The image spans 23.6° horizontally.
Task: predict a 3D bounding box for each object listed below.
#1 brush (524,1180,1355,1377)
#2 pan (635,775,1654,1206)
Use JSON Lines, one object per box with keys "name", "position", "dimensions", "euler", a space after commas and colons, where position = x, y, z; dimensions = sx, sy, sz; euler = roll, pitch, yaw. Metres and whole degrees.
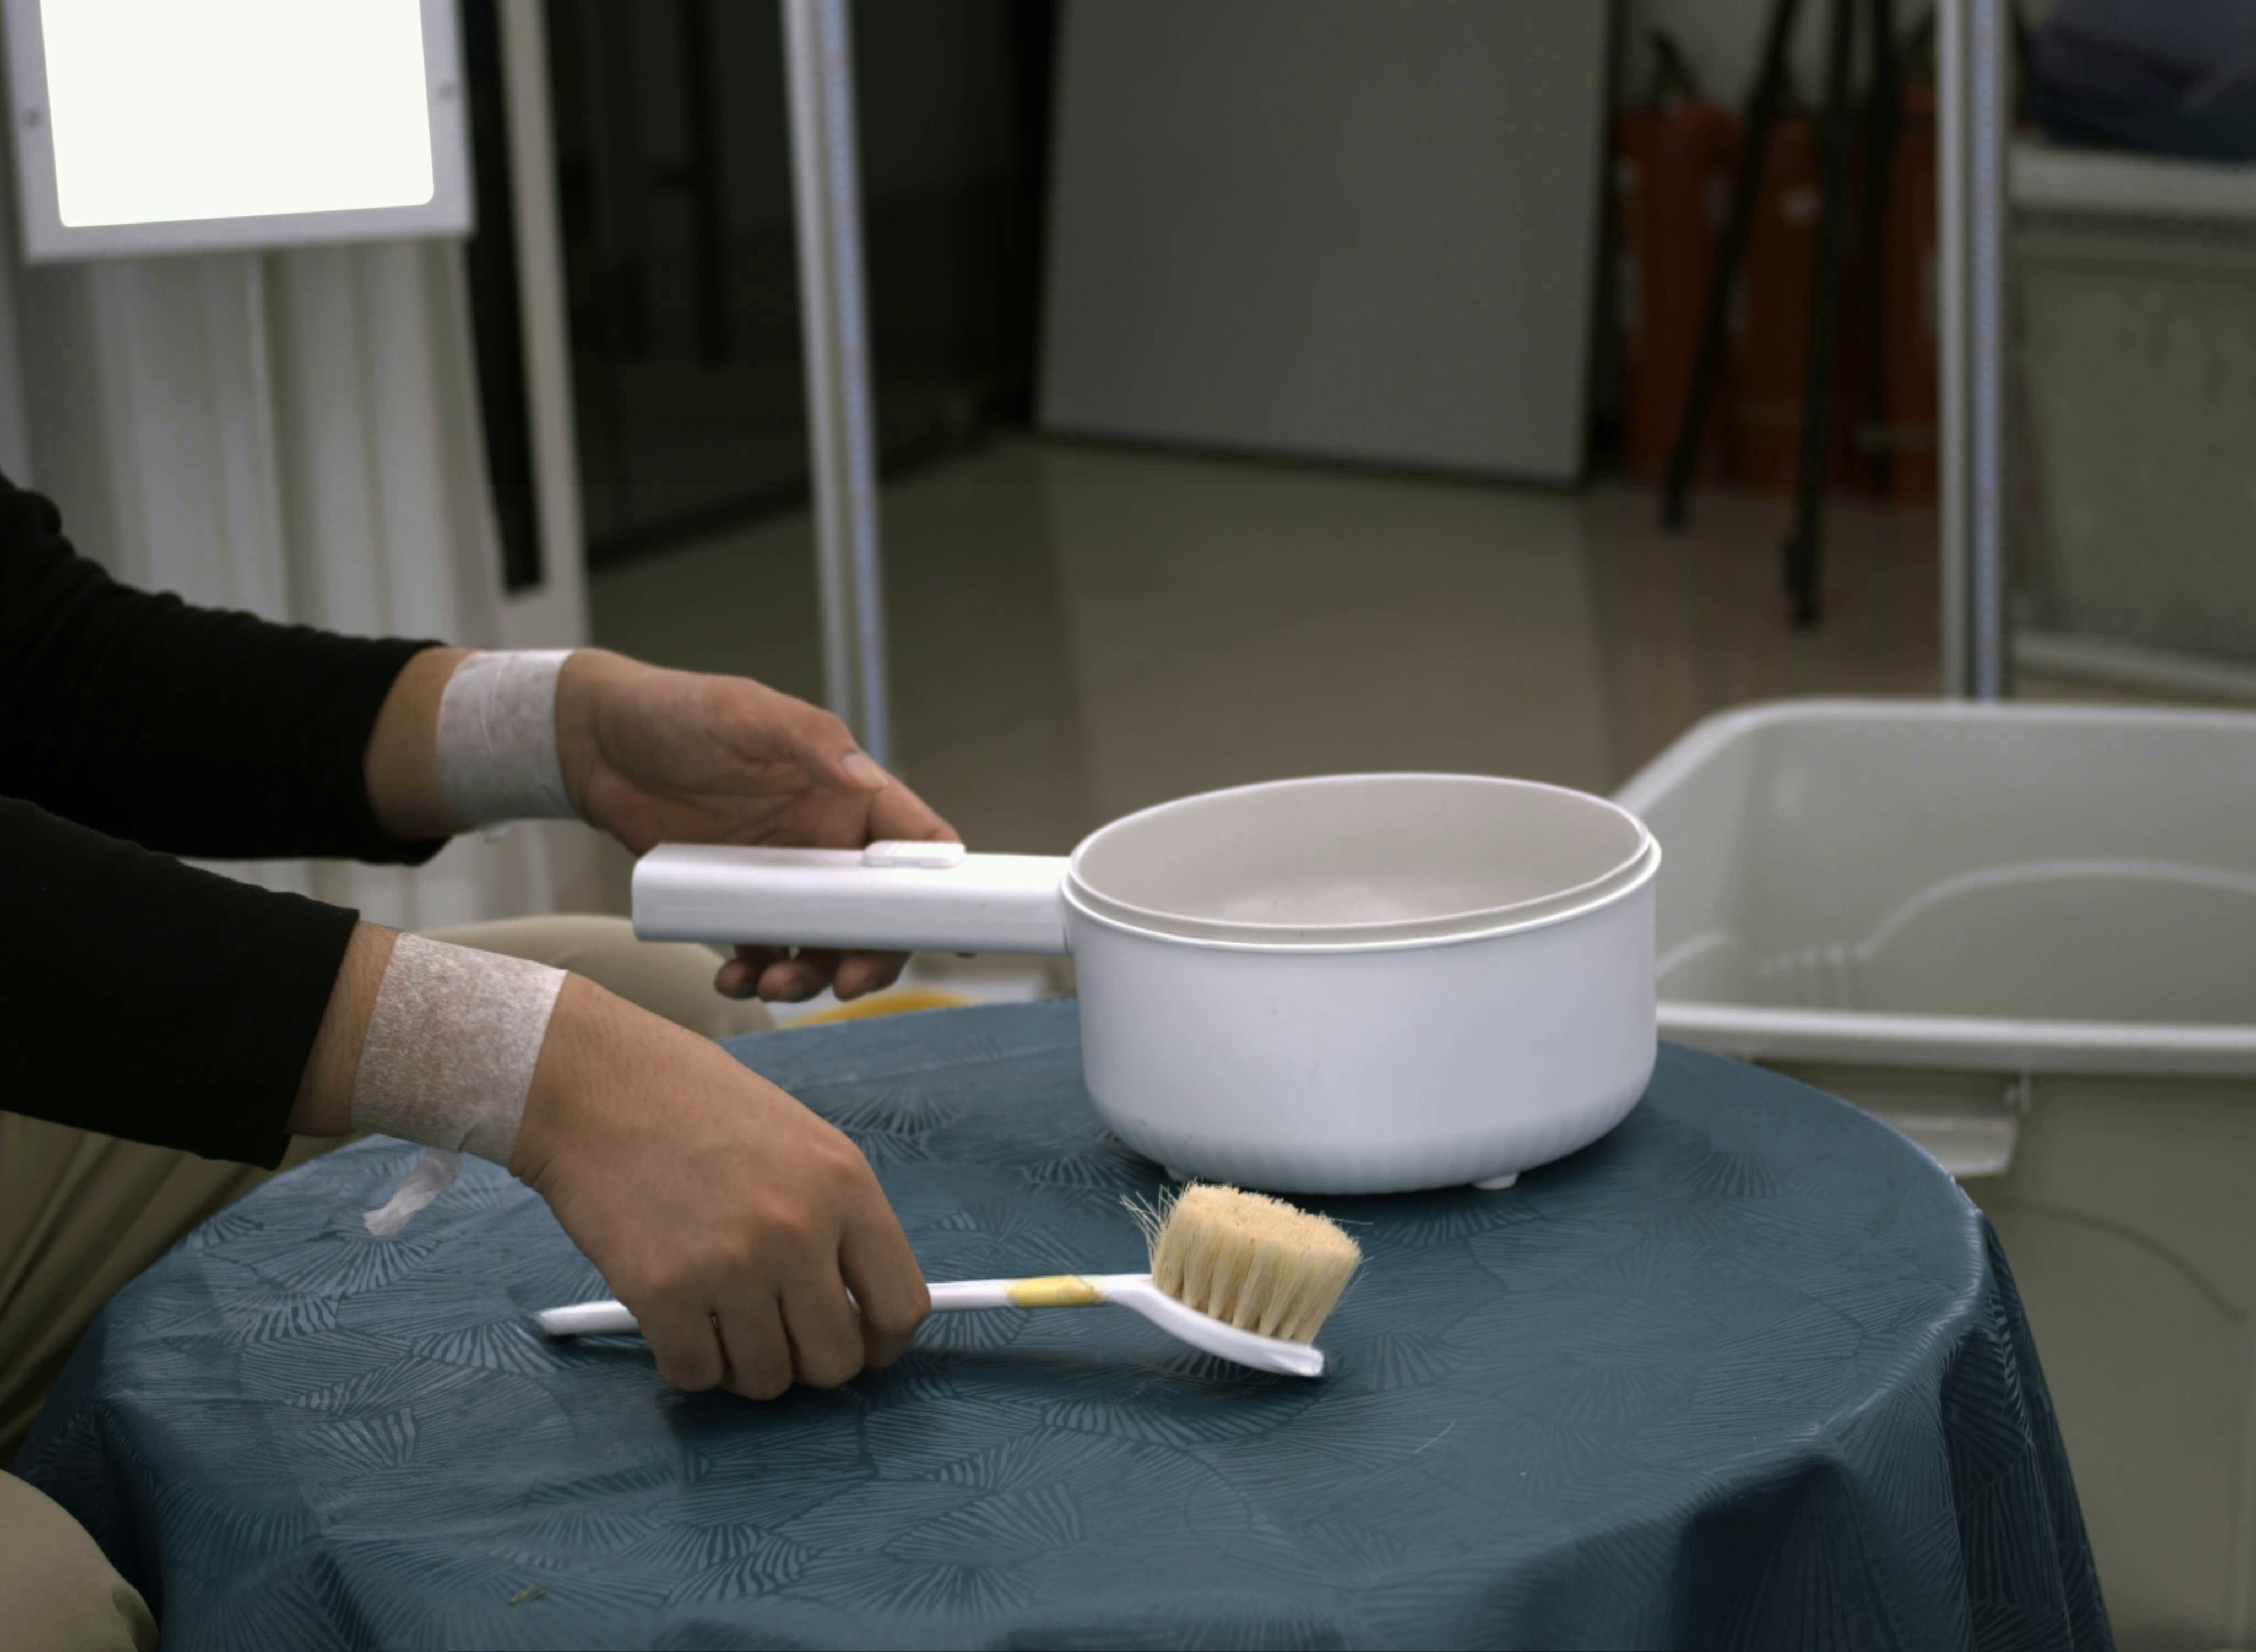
{"name": "brush", "position": [-0.060, 0.133, 1.616], "dimensions": [0.266, 0.057, 0.067], "euler": [-1, -4, 22]}
{"name": "pan", "position": [0.006, 0.058, 1.824], "dimensions": [0.353, 0.103, 0.200], "euler": [-1, 15, 17]}
